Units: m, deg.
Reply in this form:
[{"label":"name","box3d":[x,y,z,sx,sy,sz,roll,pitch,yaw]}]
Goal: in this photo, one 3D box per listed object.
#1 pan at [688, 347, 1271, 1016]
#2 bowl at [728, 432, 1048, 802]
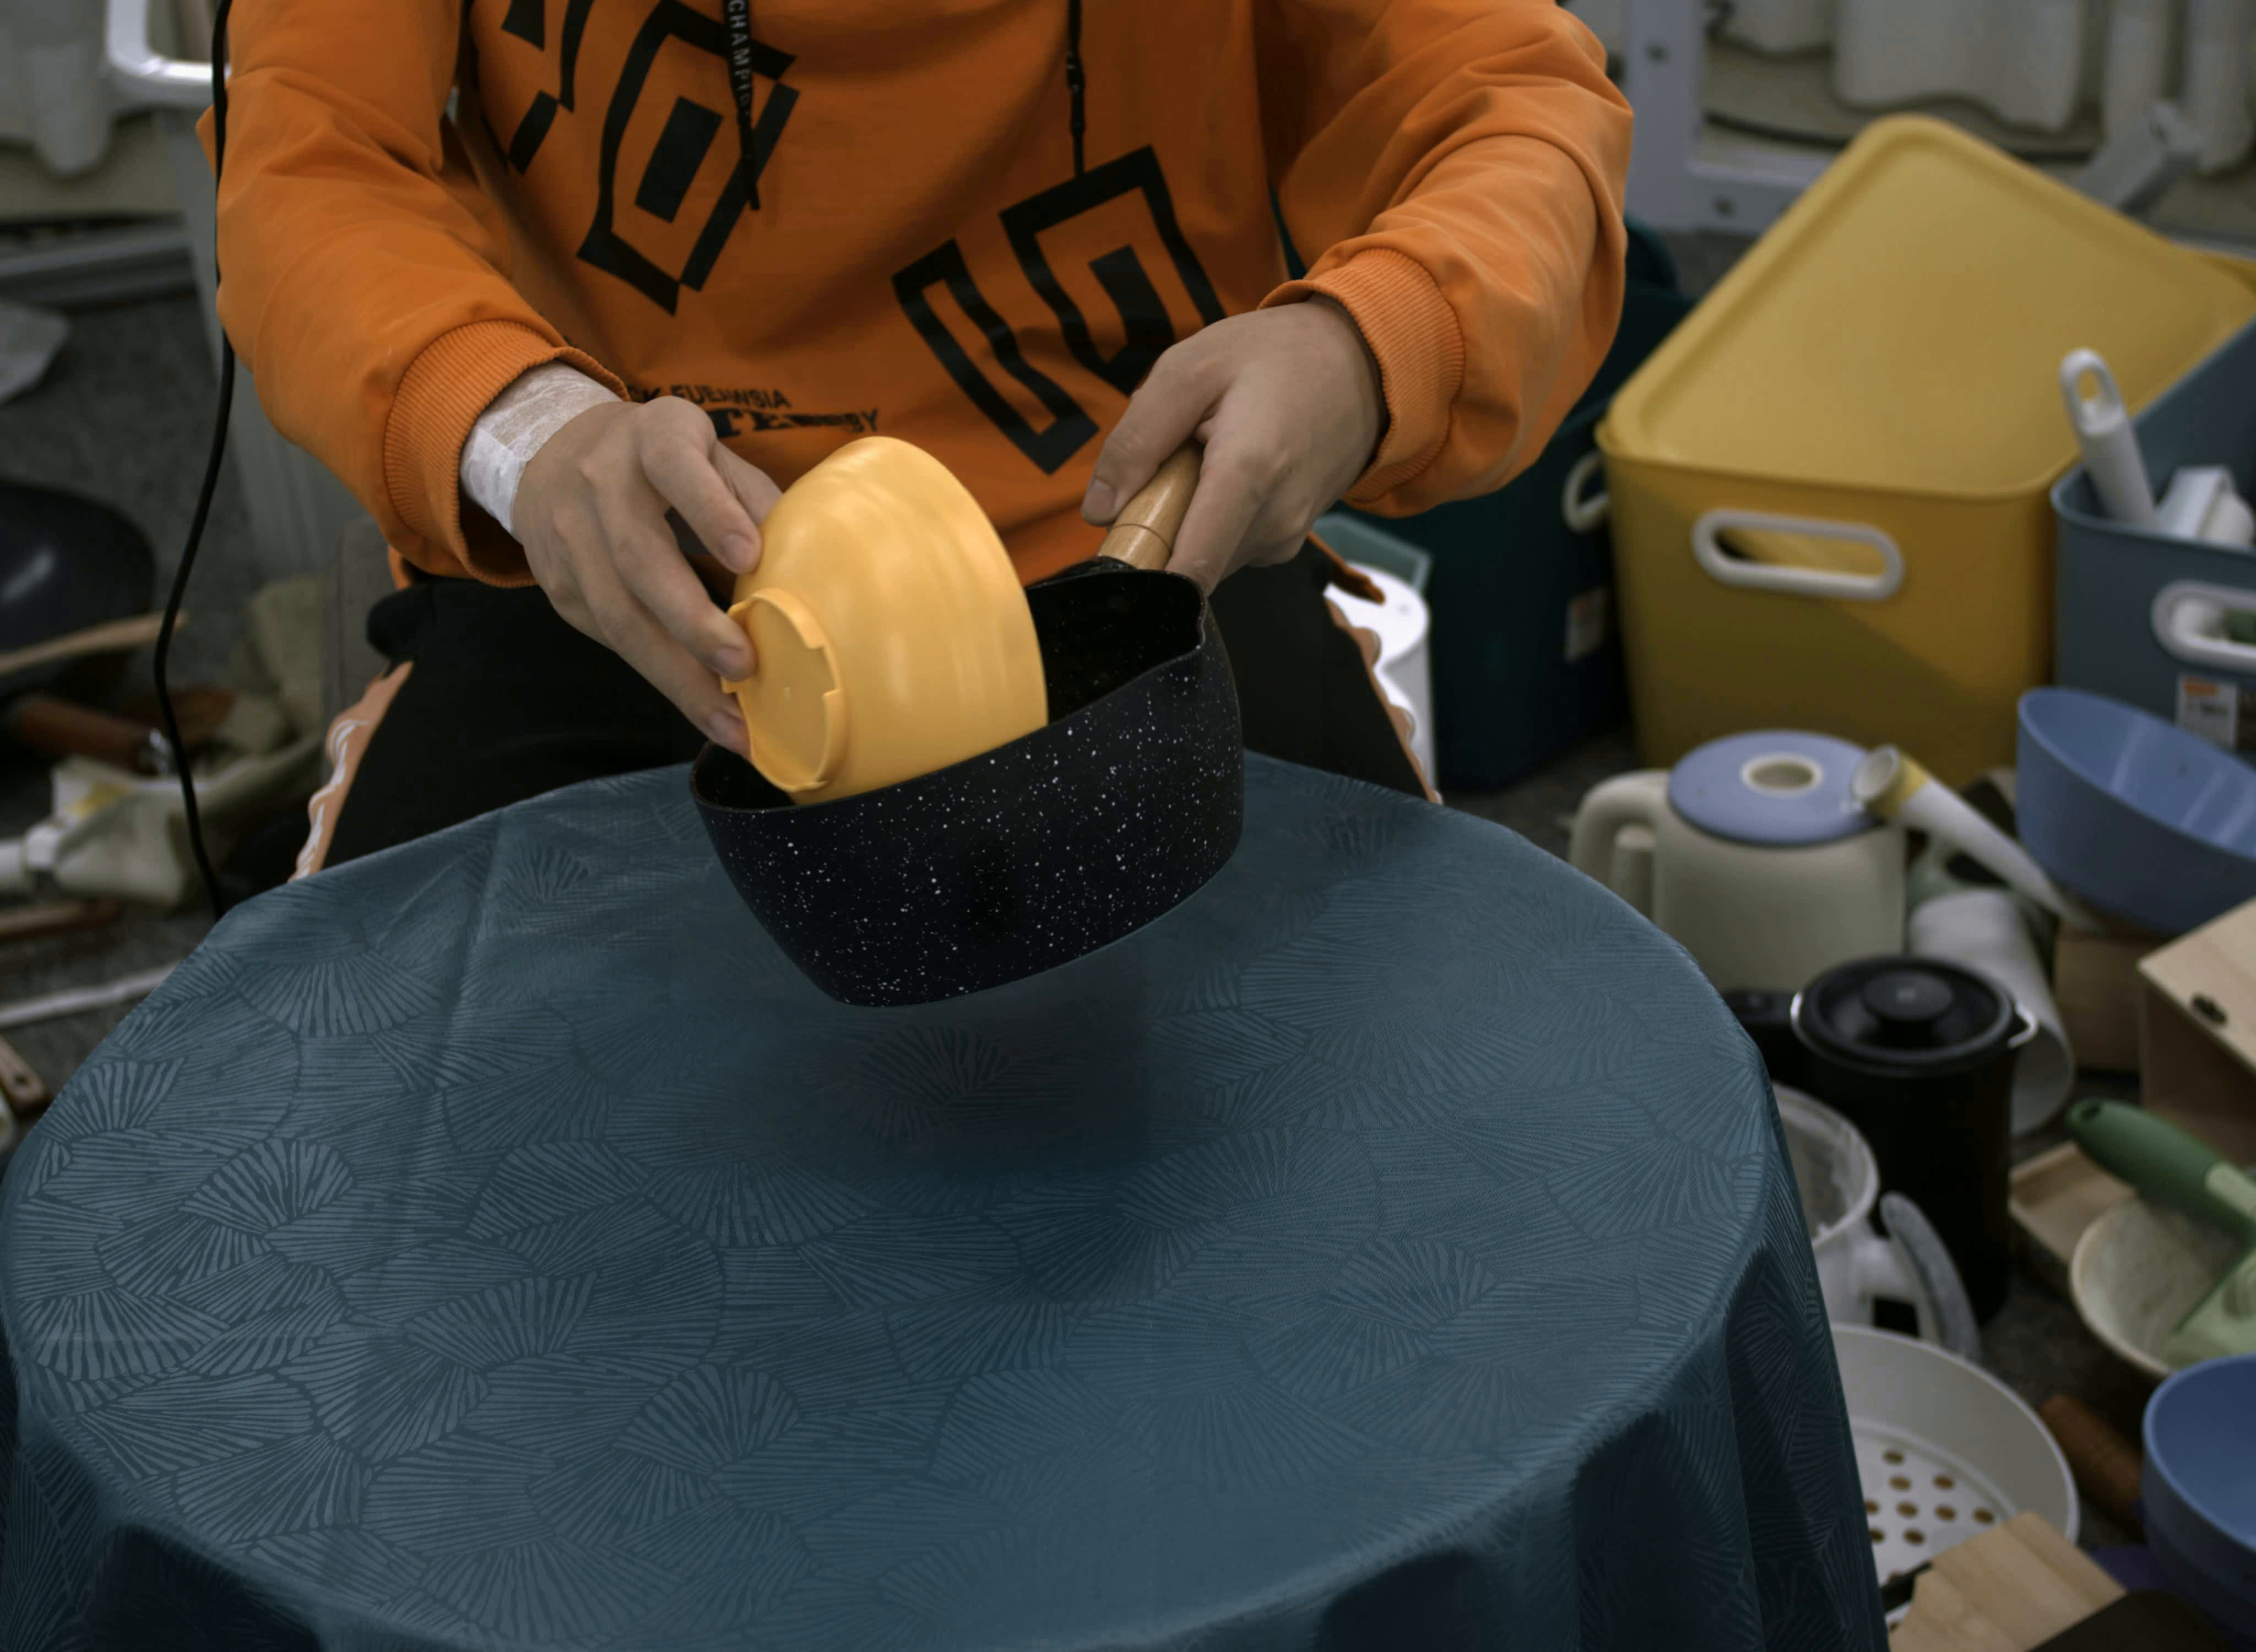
[{"label":"pan","box3d":[-0.017,-0.053,1.942,0.205,0.108,0.348,-12,20,31]},{"label":"bowl","box3d":[-0.088,-0.051,1.830,0.060,0.144,0.145,-20,32,-29]}]
